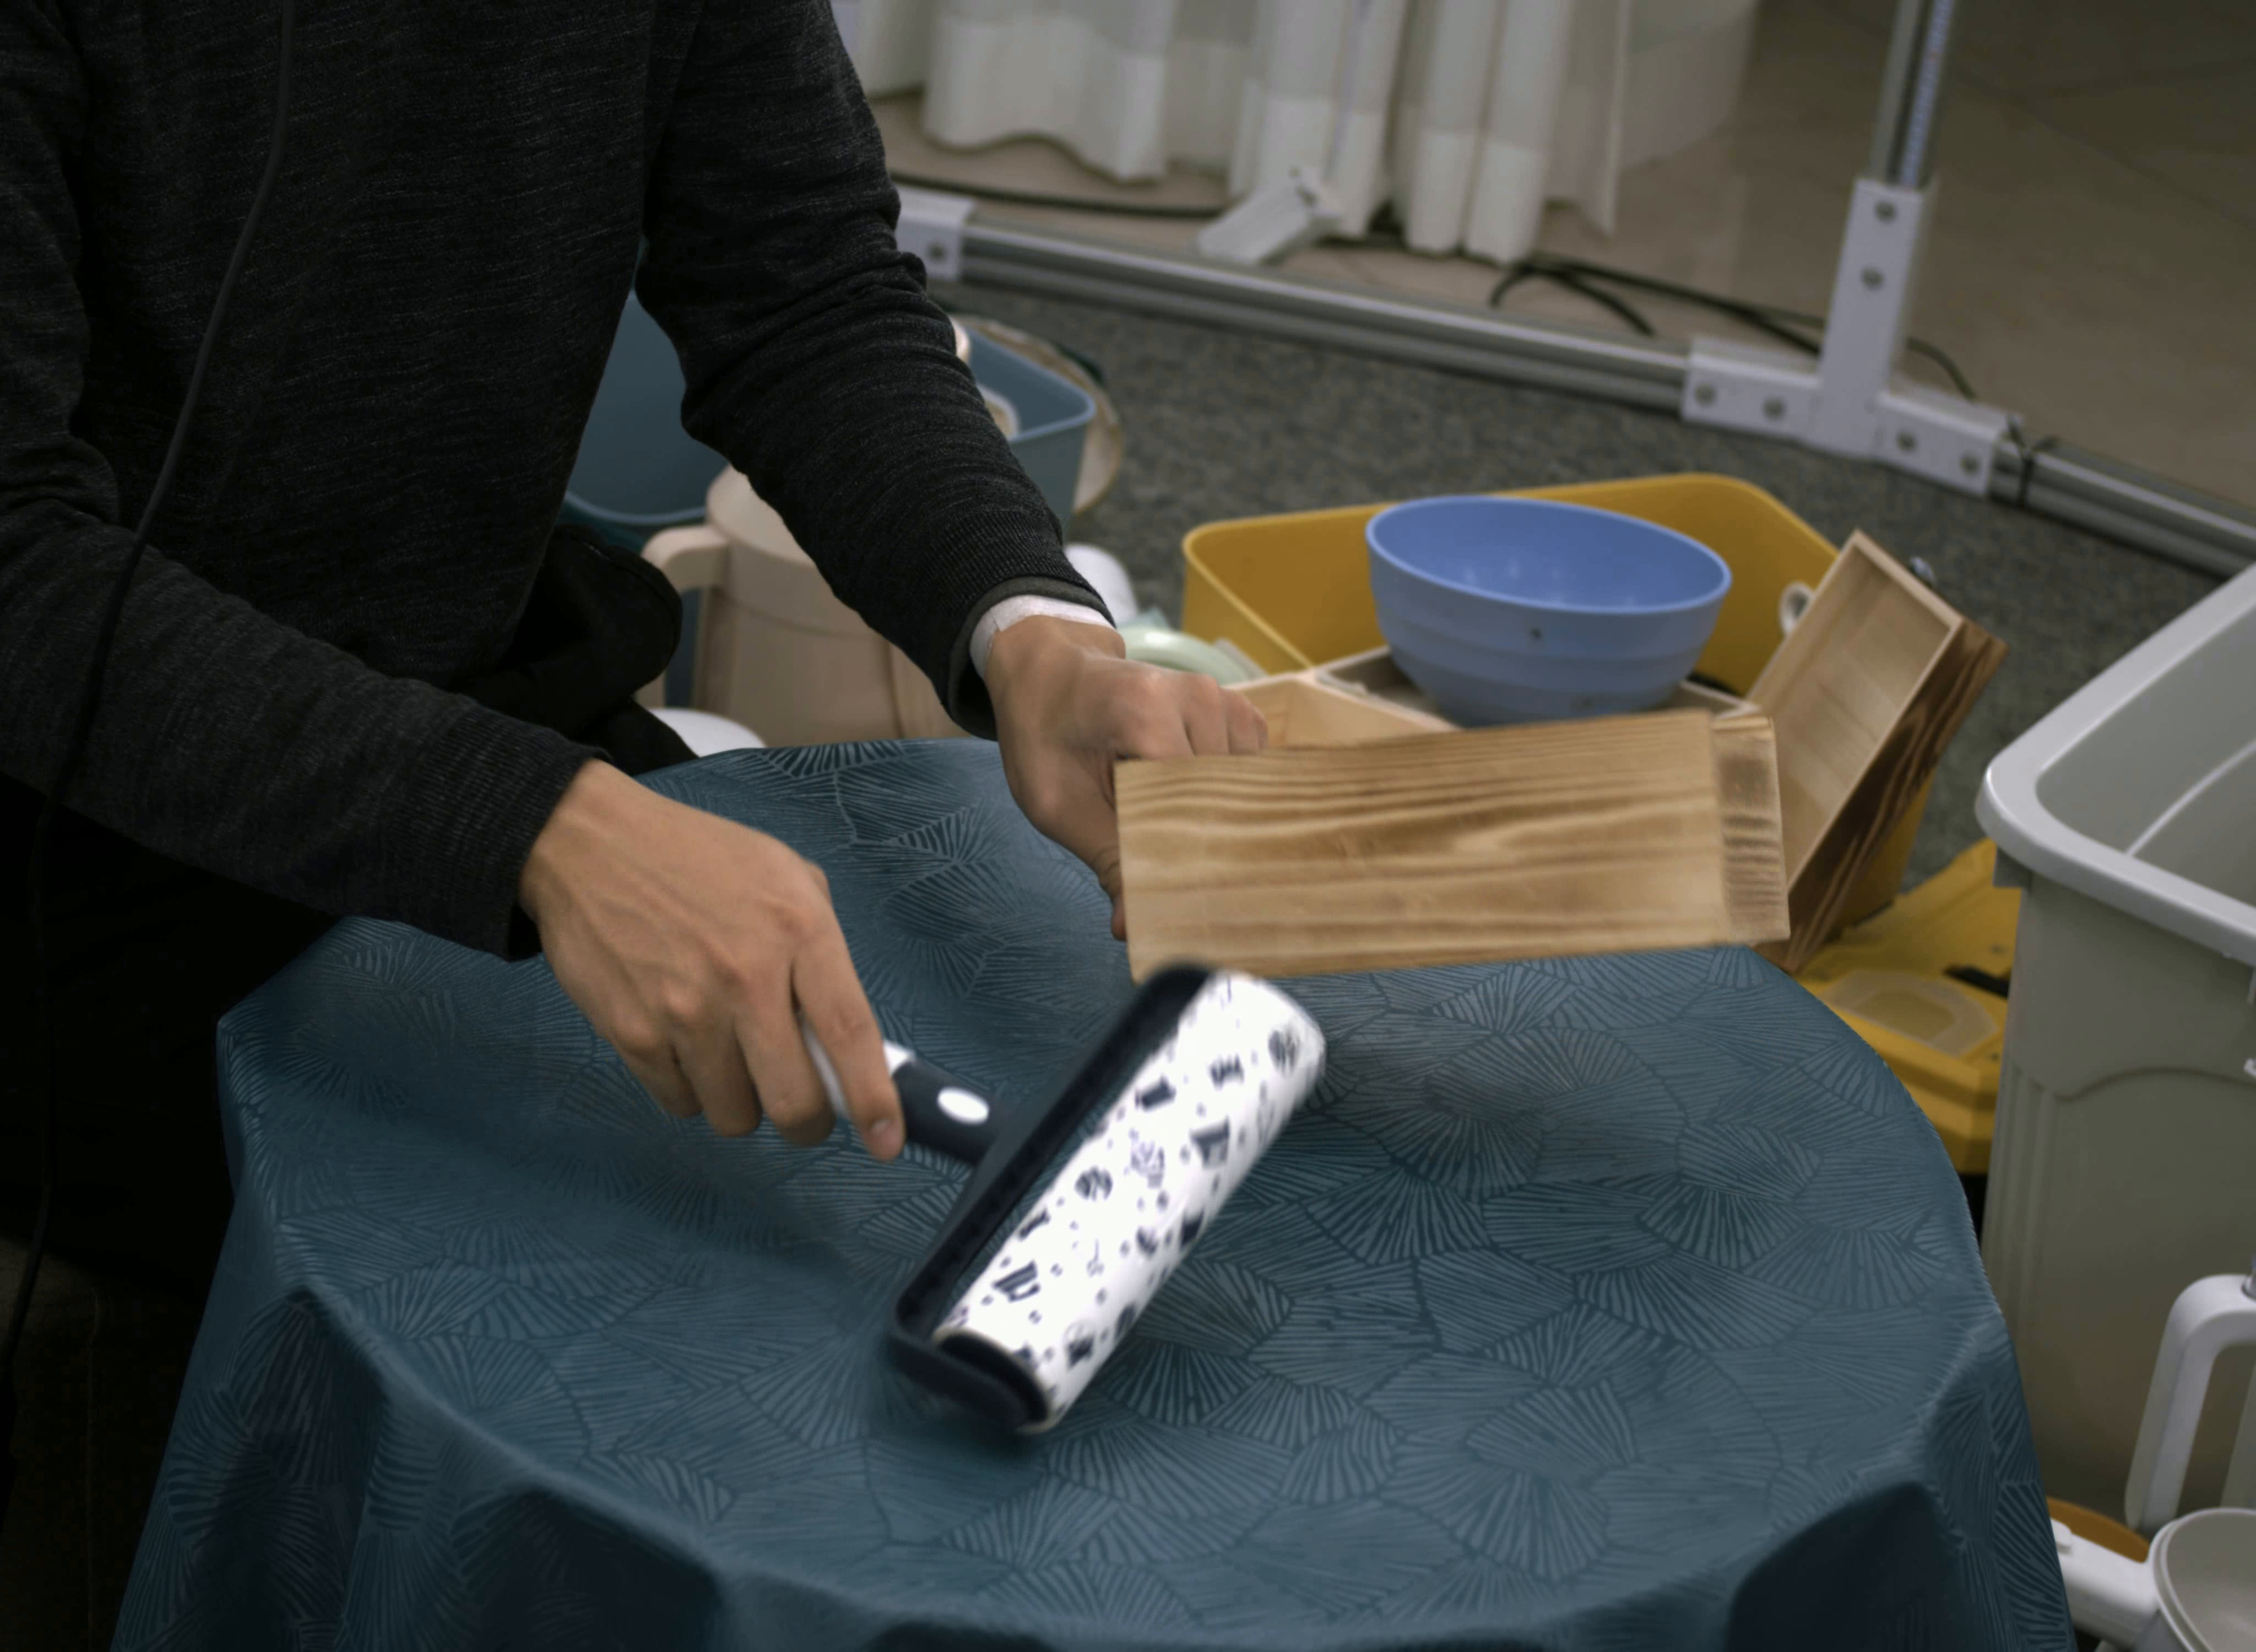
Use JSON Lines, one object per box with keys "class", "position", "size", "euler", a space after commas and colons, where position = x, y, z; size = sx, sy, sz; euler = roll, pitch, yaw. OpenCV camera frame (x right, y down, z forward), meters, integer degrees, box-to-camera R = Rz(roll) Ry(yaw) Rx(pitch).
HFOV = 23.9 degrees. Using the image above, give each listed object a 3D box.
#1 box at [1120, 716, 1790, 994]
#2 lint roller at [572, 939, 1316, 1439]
{"class": "box", "position": [0.114, 0.011, 1.849], "size": [0.211, 0.080, 0.107], "euler": [-5, -1, 17]}
{"class": "lint roller", "position": [-0.084, 0.087, 1.732], "size": [0.248, 0.050, 0.176], "euler": [24, 54, 26]}
